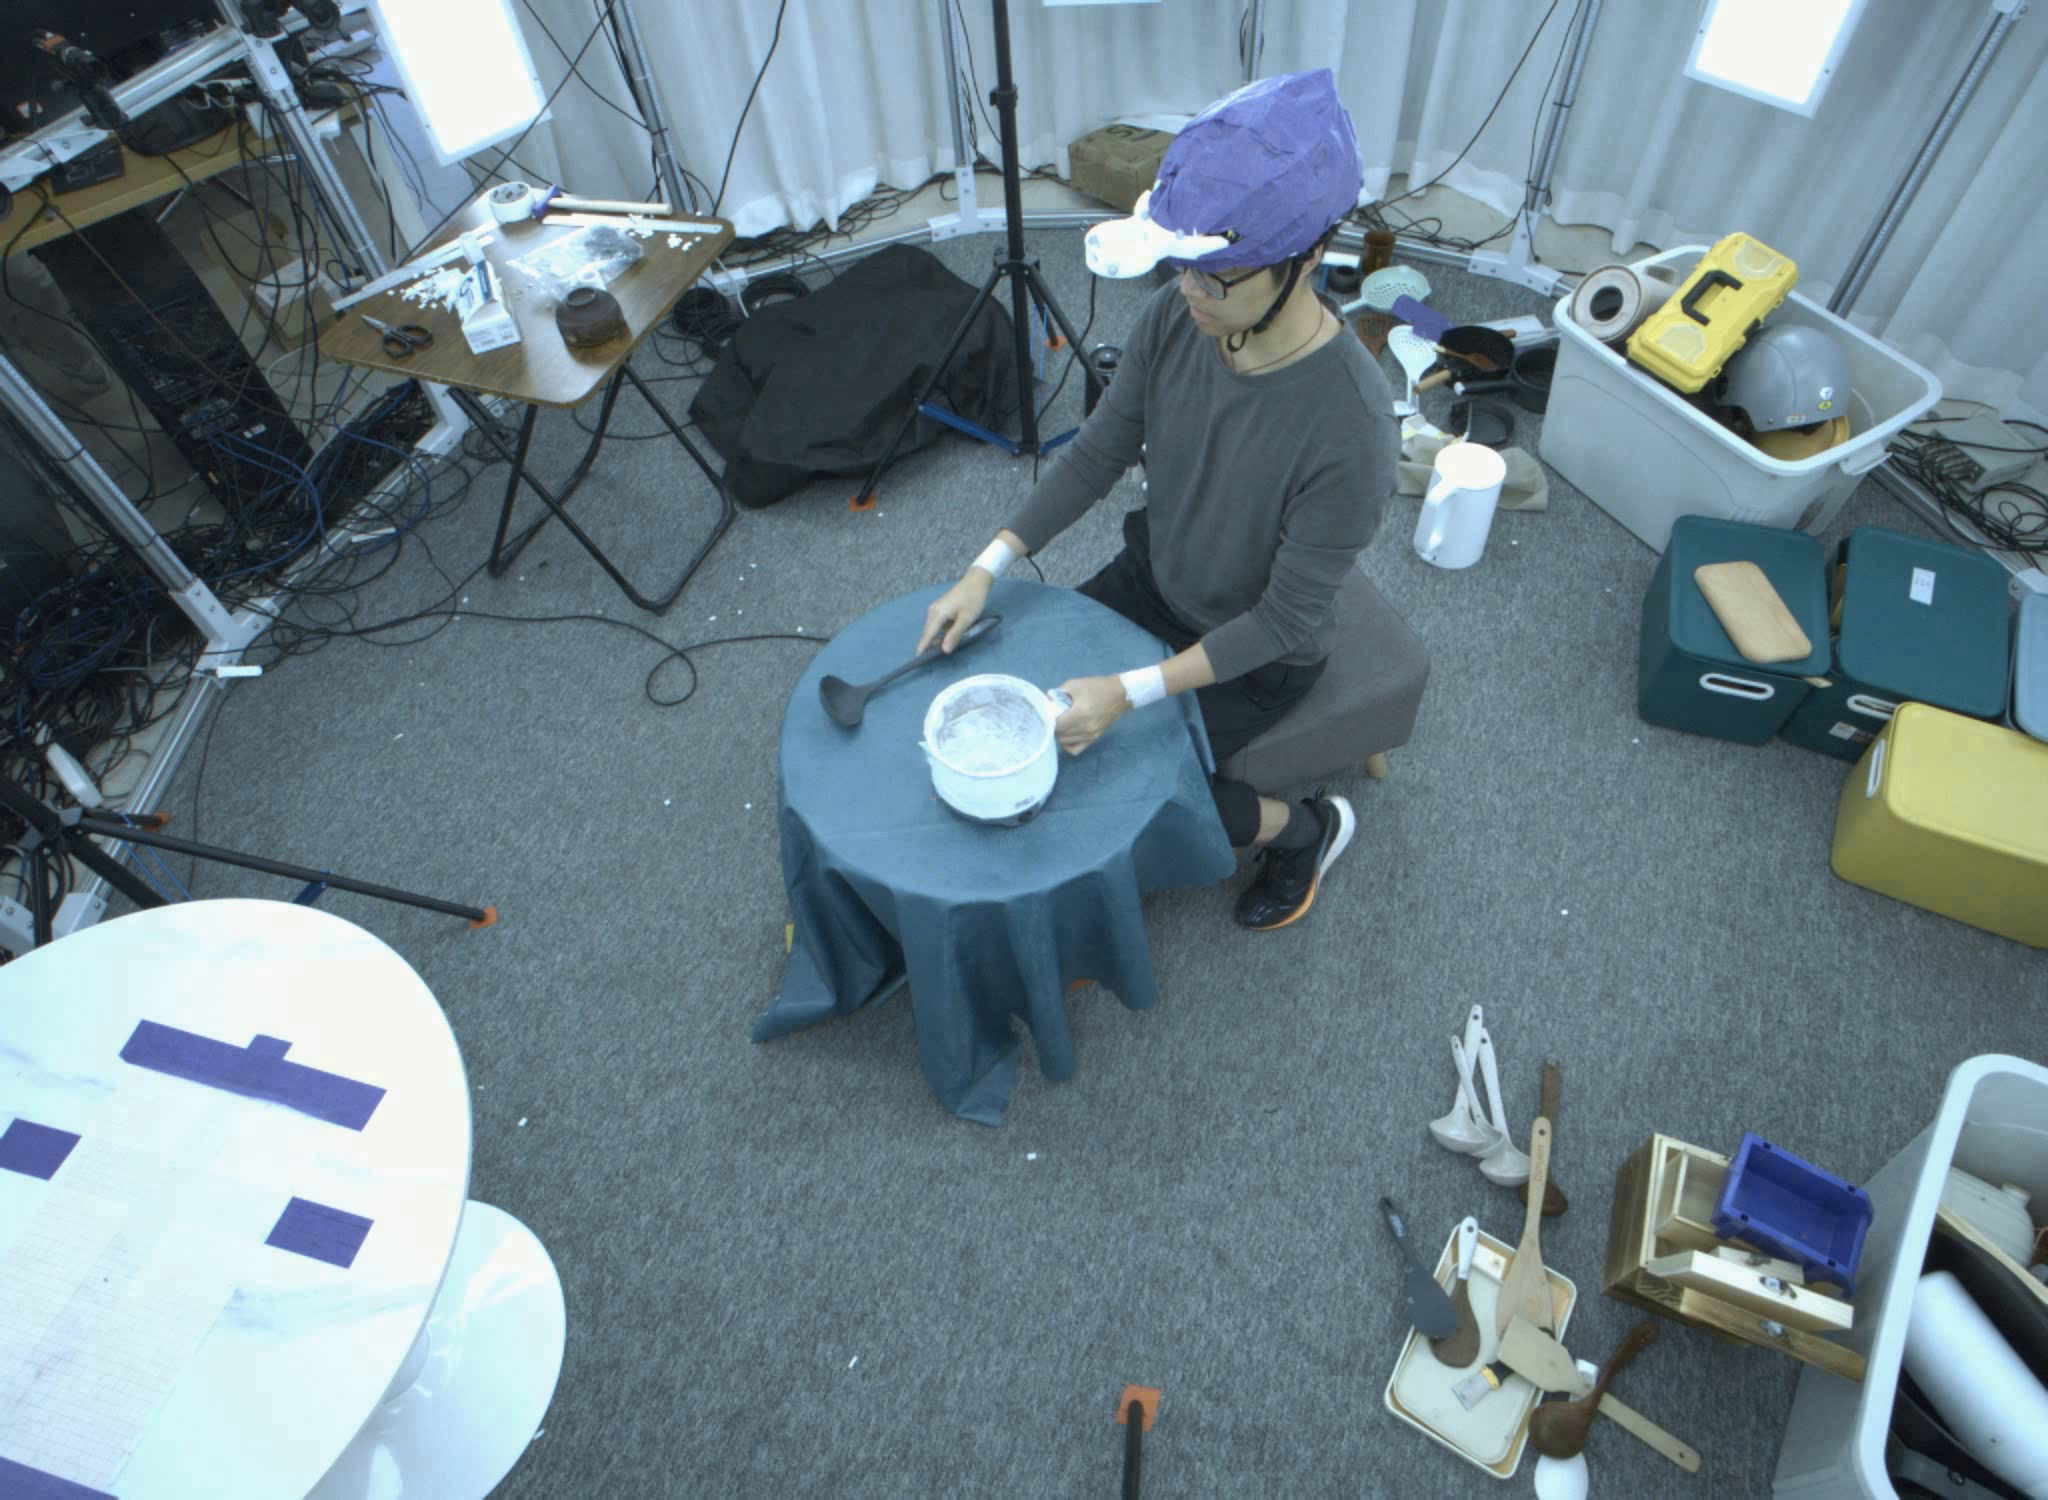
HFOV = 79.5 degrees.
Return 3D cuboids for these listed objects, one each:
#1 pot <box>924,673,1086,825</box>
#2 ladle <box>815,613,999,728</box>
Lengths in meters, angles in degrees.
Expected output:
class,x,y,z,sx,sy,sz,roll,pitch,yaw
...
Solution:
class,x,y,z,sx,sy,sz,roll,pitch,yaw
pot,-0.020,-0.010,1.718,0.236,0.138,0.175,-27,58,-17
ladle,-0.169,-0.134,1.845,0.316,0.063,0.086,-30,92,-13
